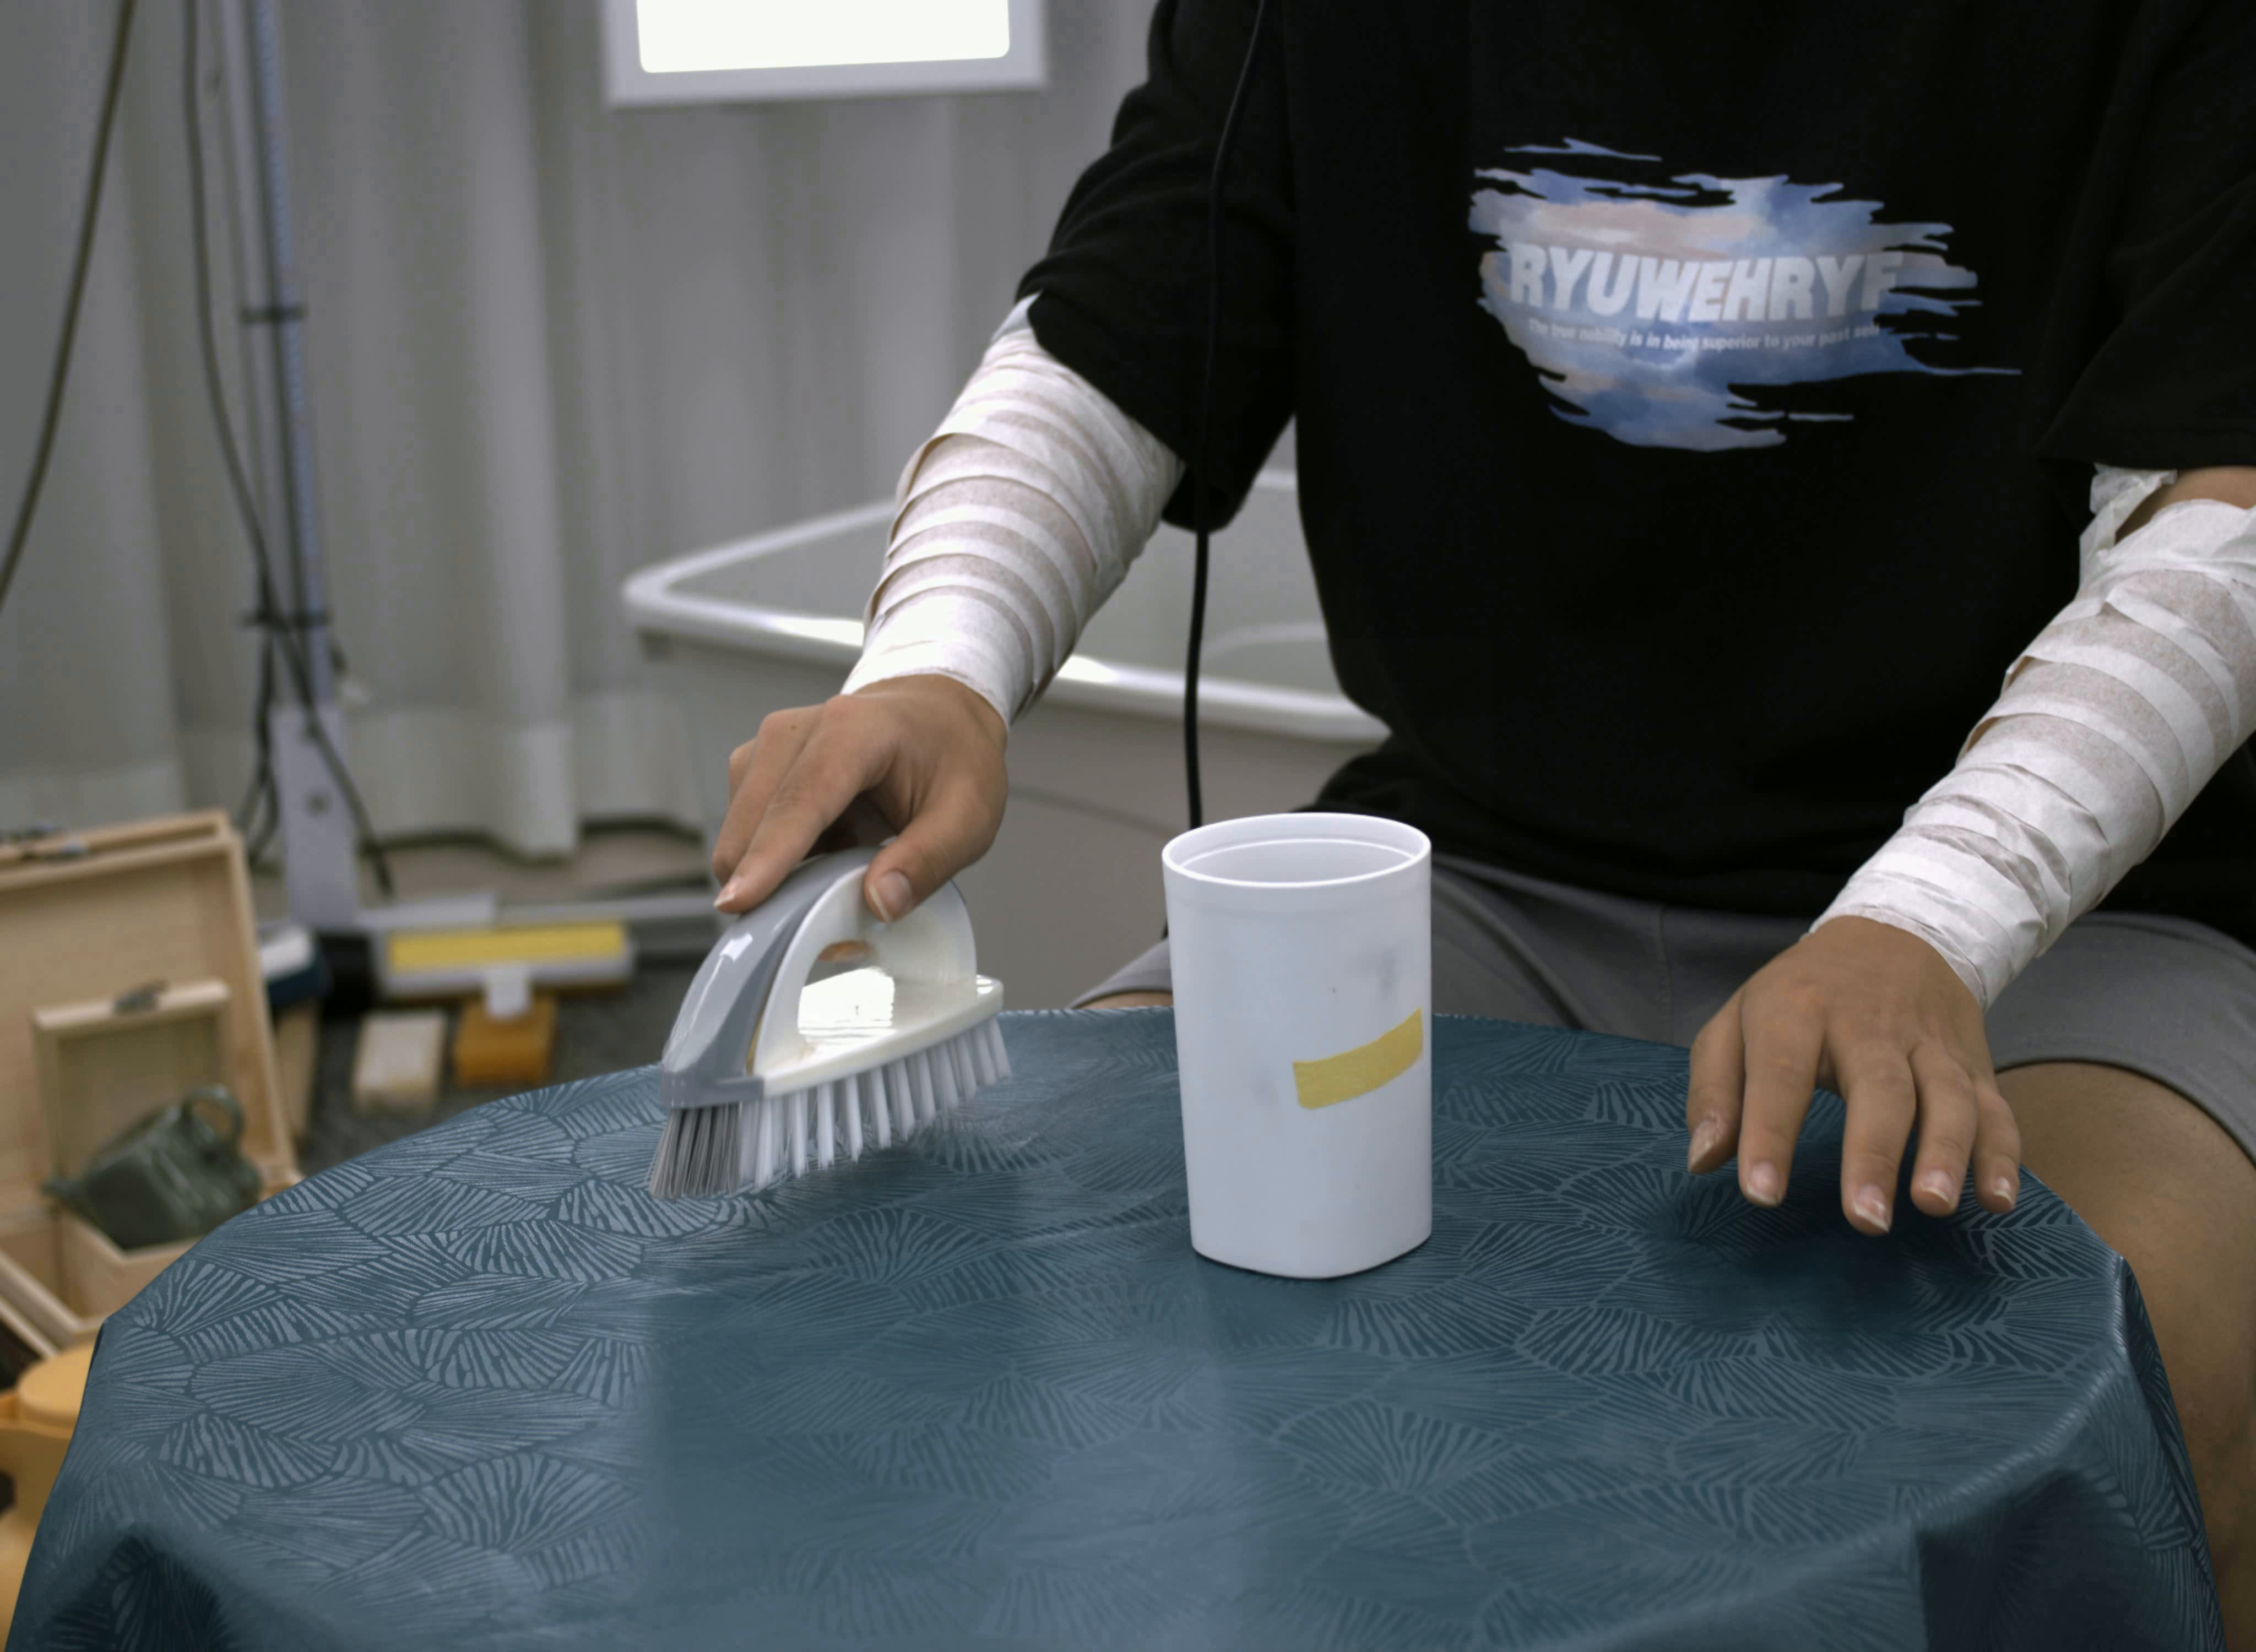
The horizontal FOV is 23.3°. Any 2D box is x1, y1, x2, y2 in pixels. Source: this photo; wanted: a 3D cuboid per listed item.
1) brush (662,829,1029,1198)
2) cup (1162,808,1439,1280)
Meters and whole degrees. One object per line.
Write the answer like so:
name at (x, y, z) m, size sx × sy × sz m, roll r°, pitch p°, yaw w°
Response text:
brush at (-0.098, 0.055, 1.724) m, size 0.061 × 0.094 × 0.175 m, roll 1°, pitch 13°, yaw 30°
cup at (0.055, 0.066, 1.643) m, size 0.081 × 0.125 × 0.082 m, roll -4°, pitch 14°, yaw 1°
